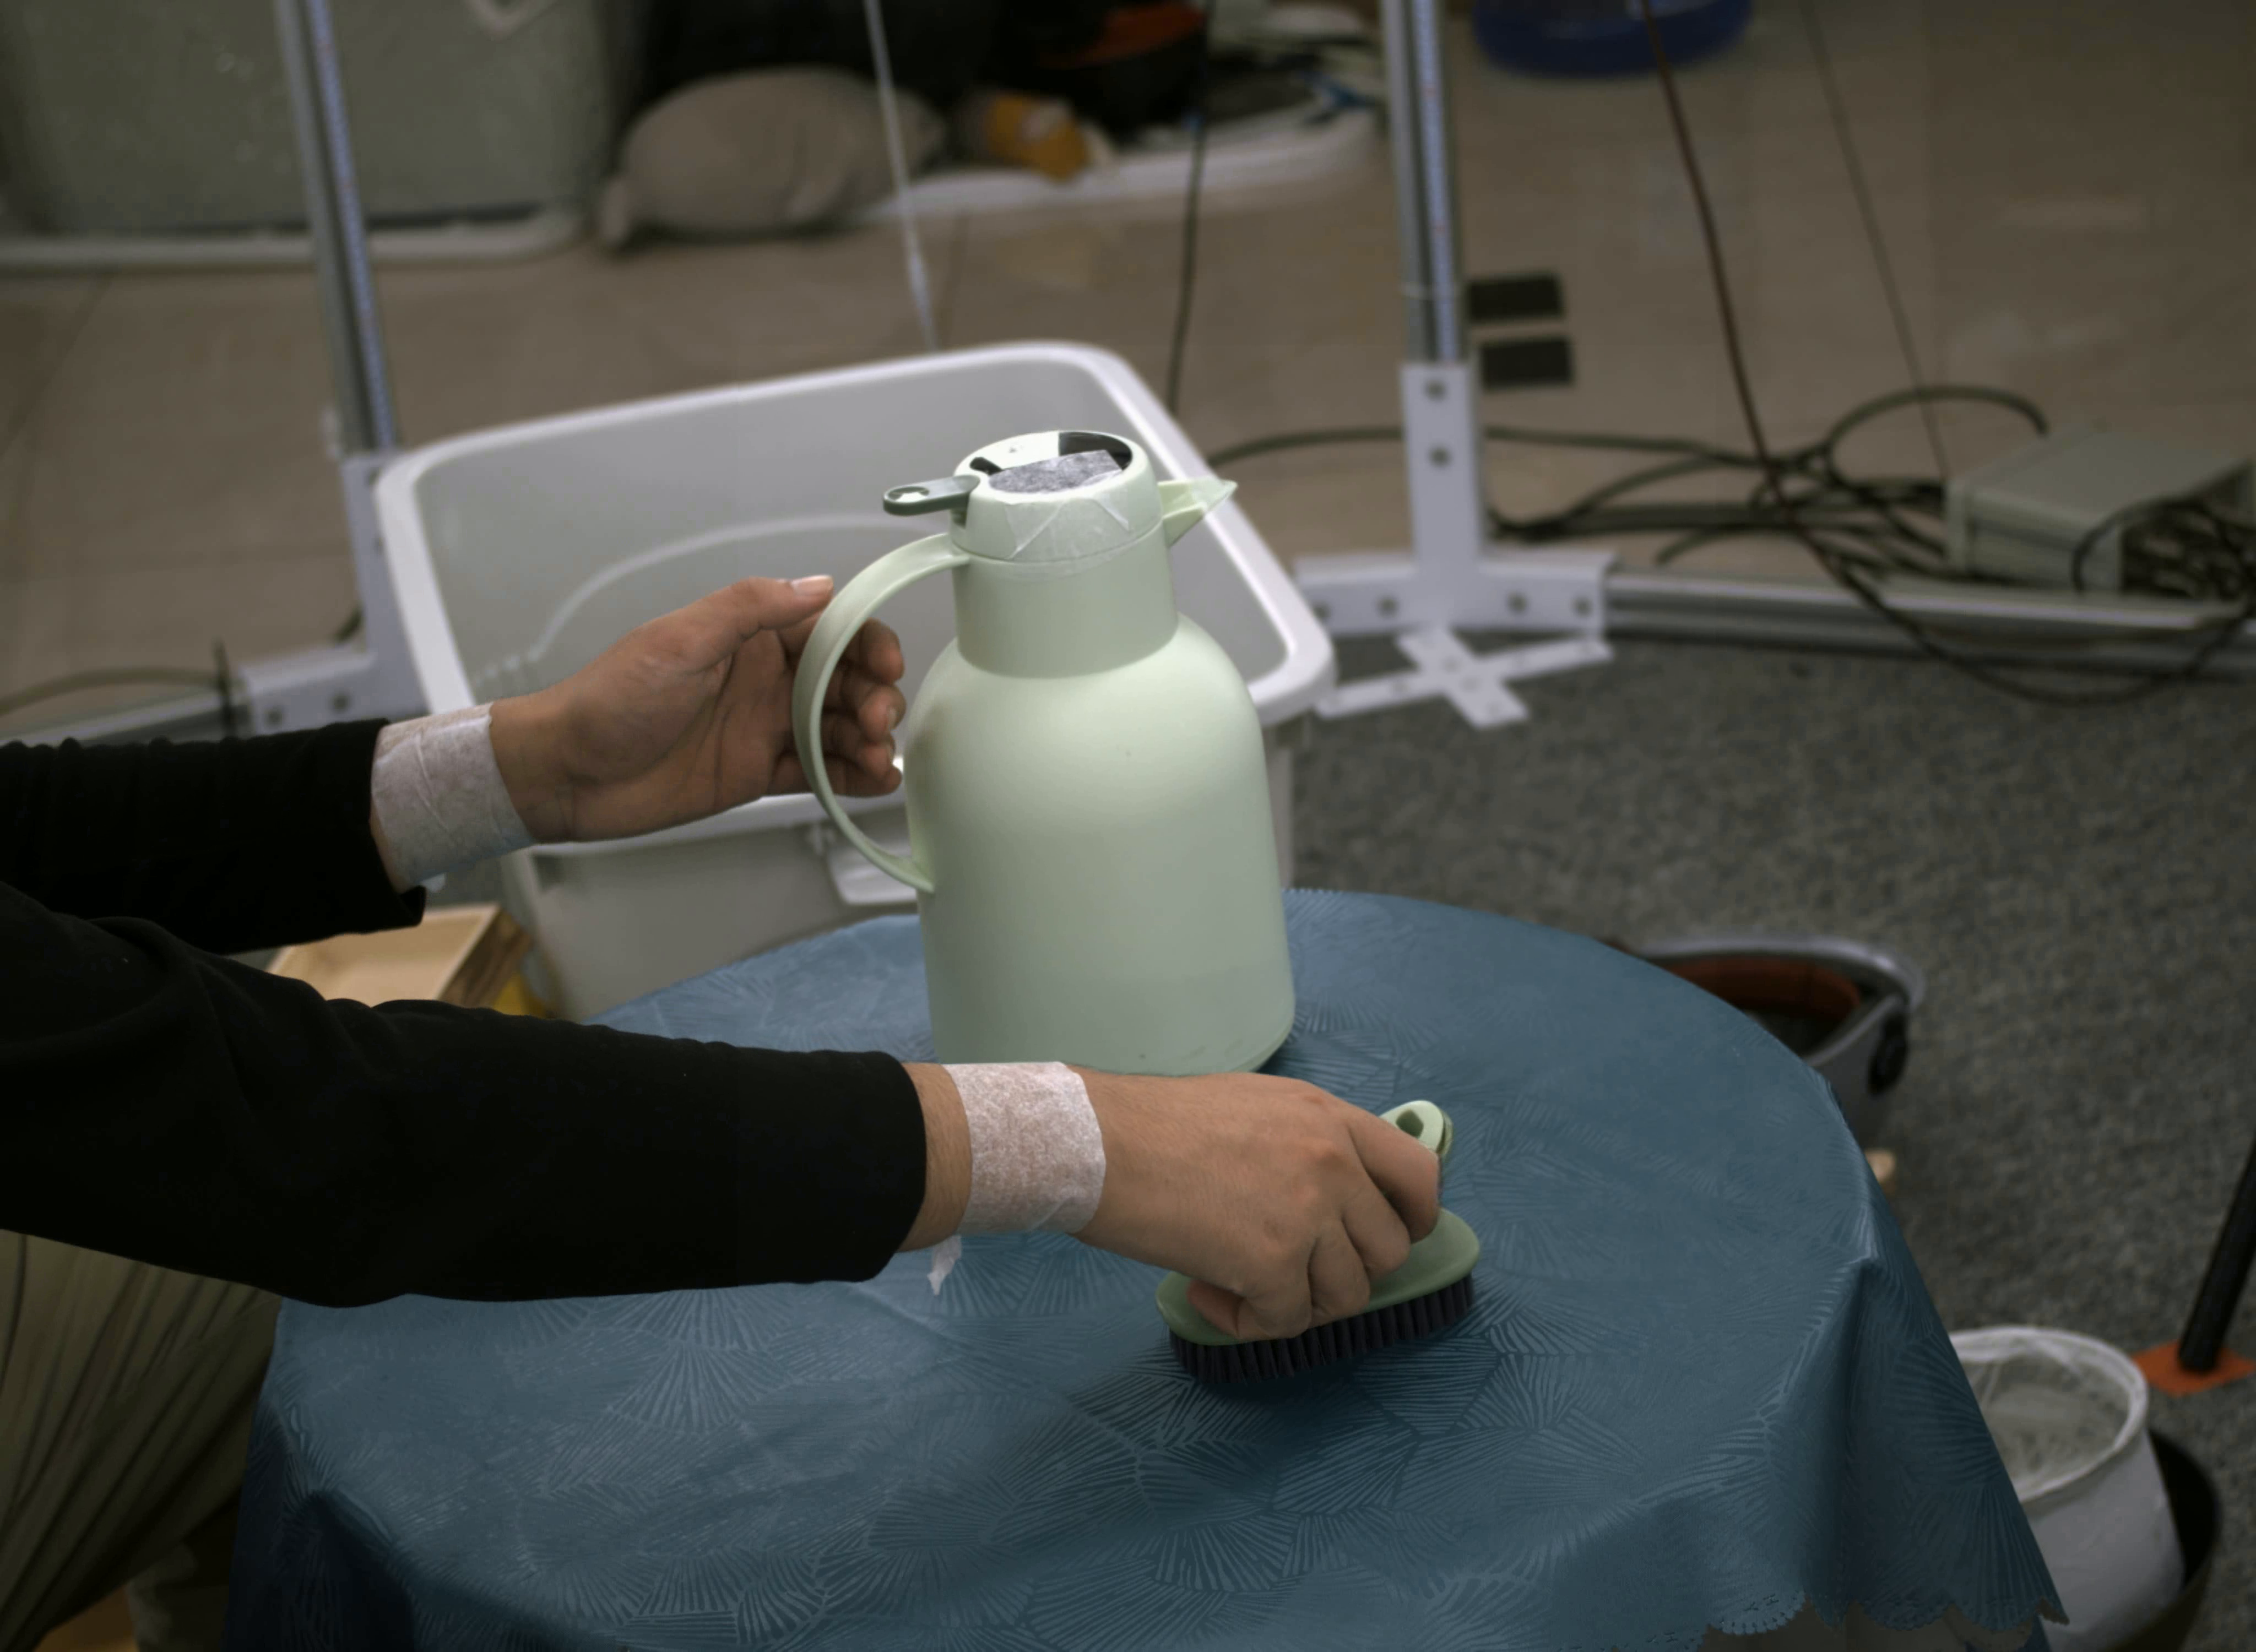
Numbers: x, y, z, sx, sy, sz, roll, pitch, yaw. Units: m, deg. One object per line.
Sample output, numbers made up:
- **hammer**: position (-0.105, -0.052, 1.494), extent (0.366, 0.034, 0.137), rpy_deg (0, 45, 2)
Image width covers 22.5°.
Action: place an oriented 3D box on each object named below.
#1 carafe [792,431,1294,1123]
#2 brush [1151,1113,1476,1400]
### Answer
- **carafe**: position (-0.031, -0.020, 2.188), extent (0.186, 0.261, 0.142), rpy_deg (-16, 27, -14)
- **brush**: position (0.067, 0.160, 2.034), extent (0.123, 0.077, 0.059), rpy_deg (-29, 32, -2)
